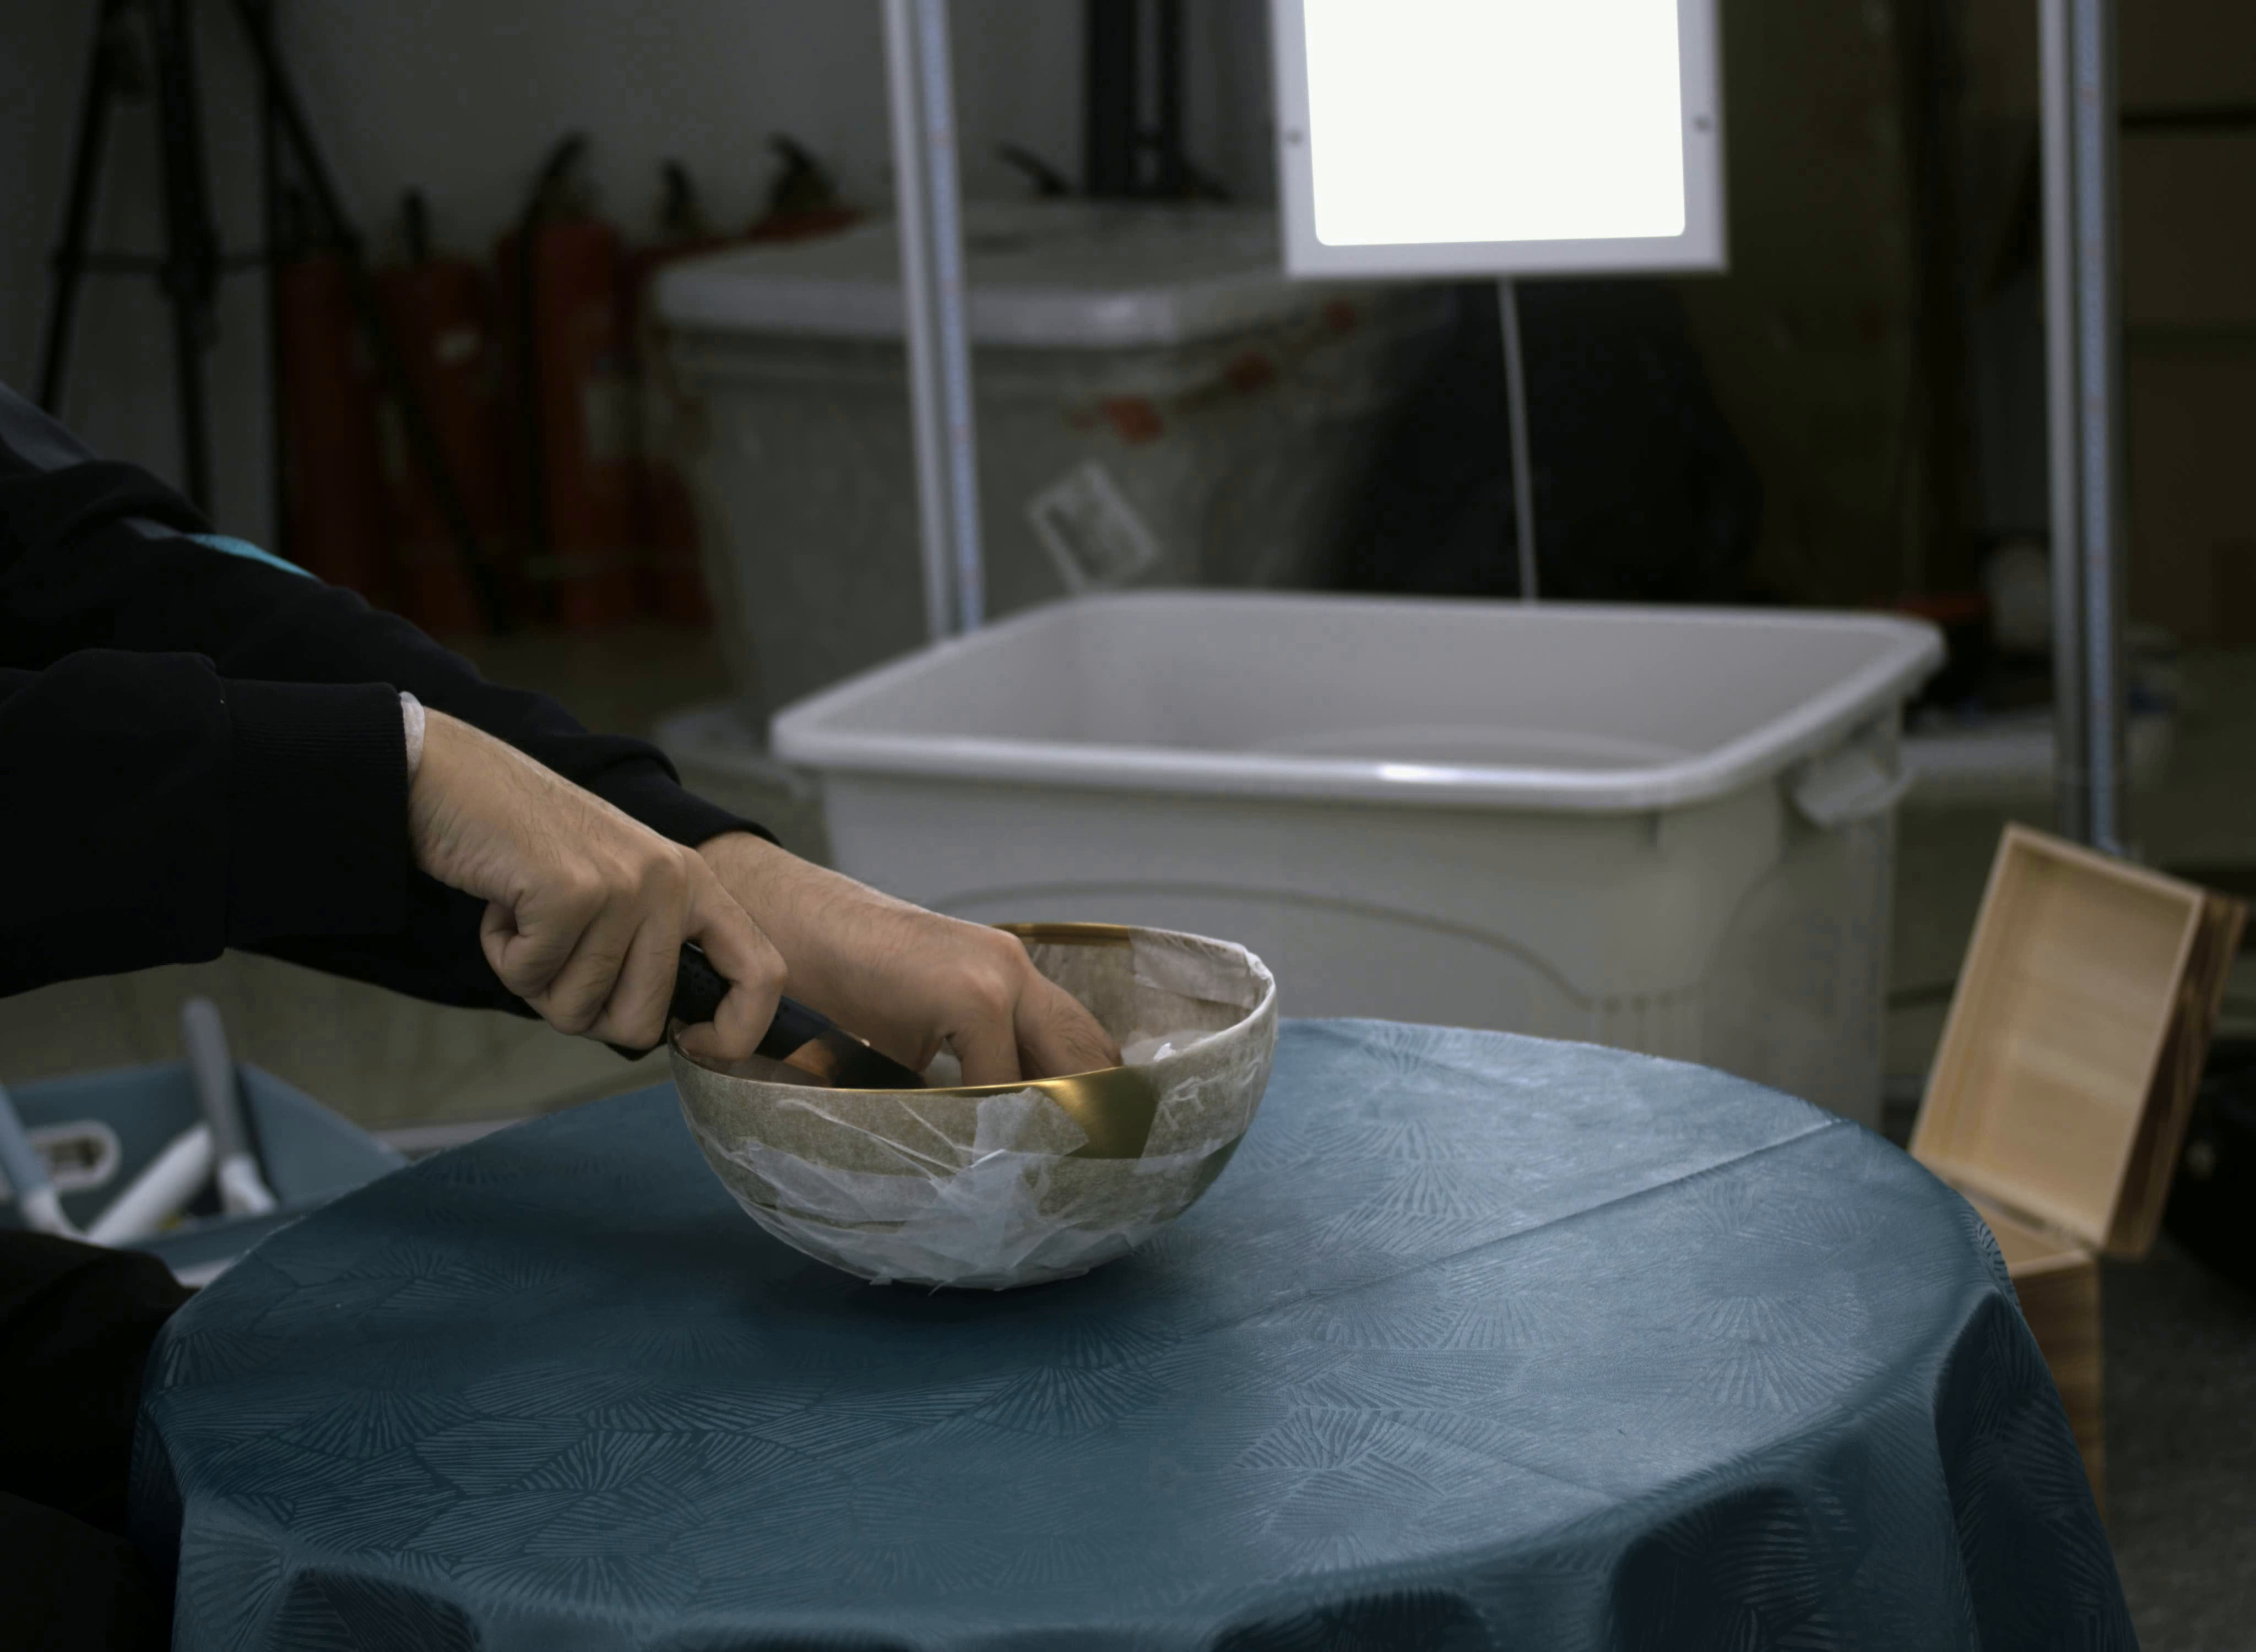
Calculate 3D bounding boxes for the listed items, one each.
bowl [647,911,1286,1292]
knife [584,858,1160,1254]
[{"bbox_3d":[-0.051,0.099,1.827,0.214,0.095,0.214,-5,15,0],"label":"bowl"},{"bbox_3d":[-0.083,0.075,1.802,0.225,0.017,0.026,32,39,-2],"label":"knife"}]
